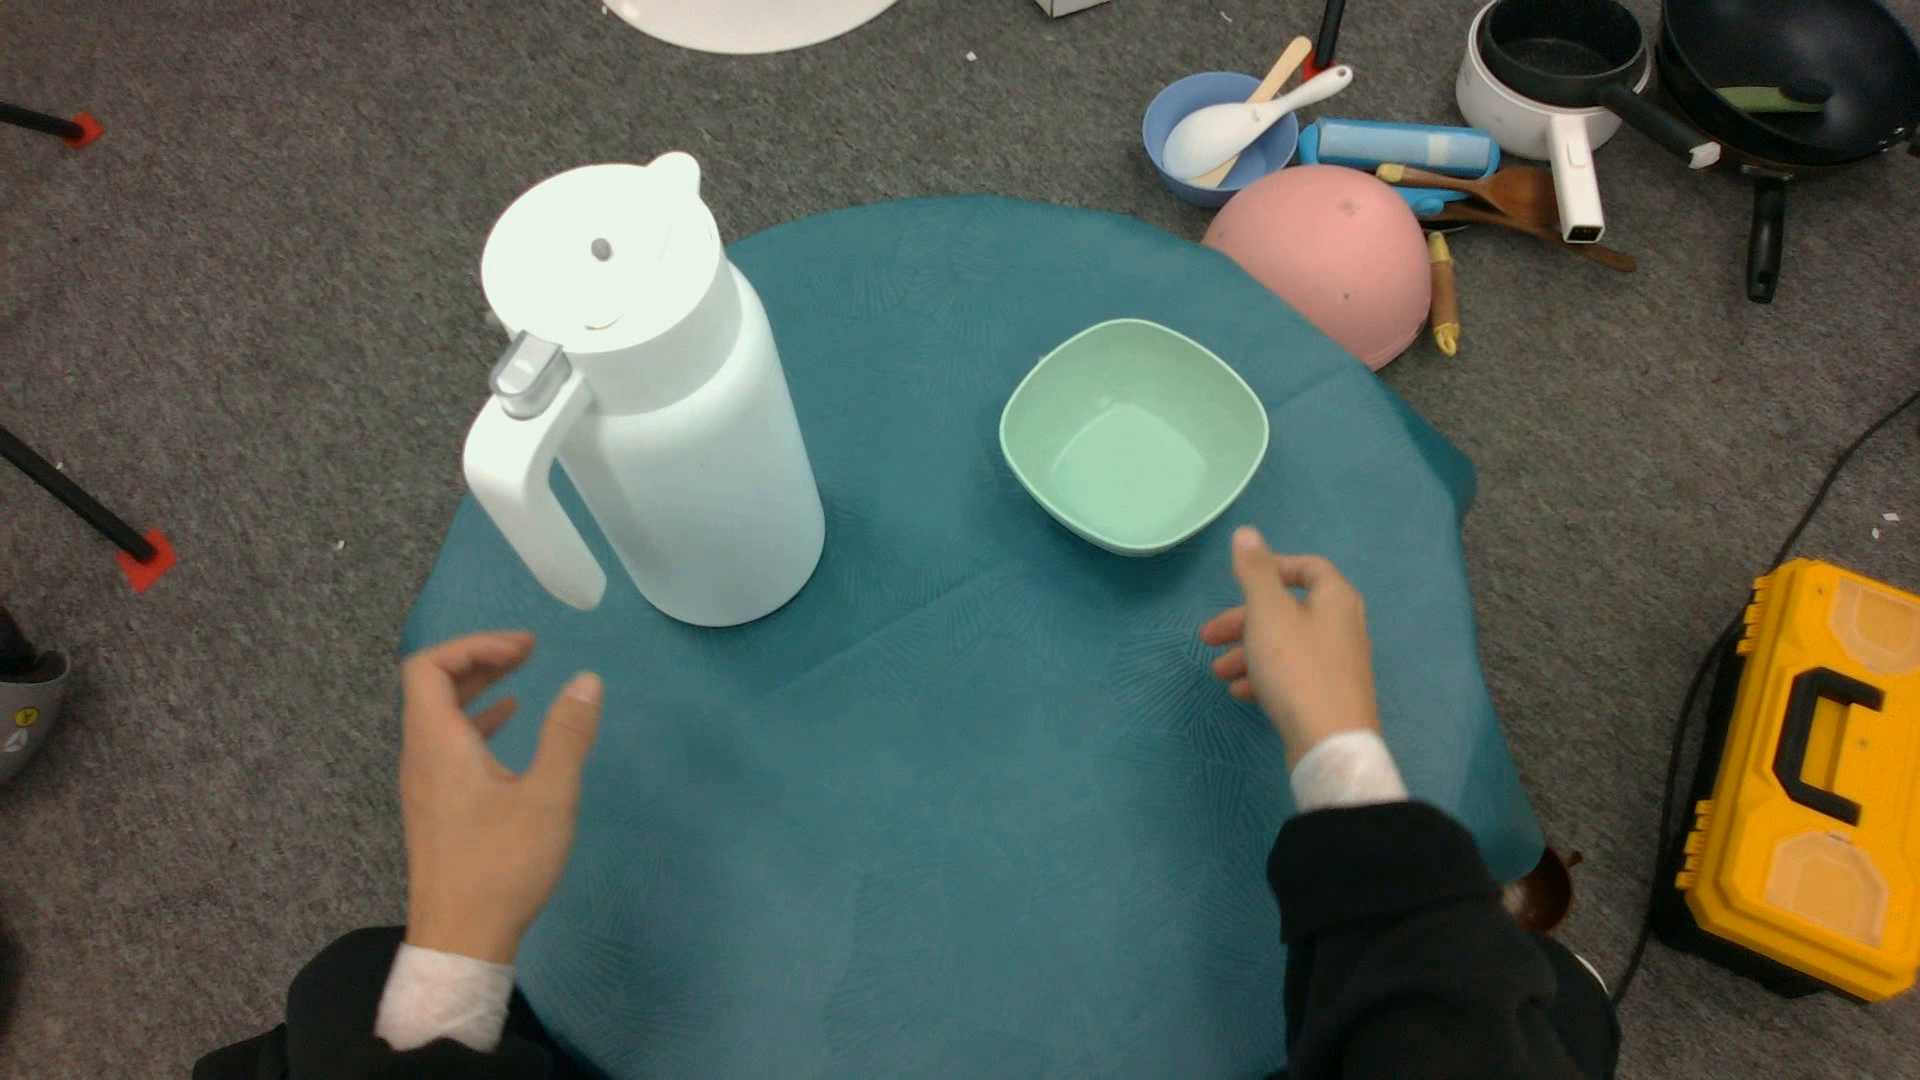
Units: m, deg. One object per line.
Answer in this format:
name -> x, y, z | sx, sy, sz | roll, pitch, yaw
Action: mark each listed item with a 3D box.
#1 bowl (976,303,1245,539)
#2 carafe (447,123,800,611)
bowl -> 0.085, -0.060, 0.798 | 0.151, 0.058, 0.152 | -1, 63, 1
carafe -> -0.160, -0.053, 0.681 | 0.124, 0.268, 0.173 | 20, 66, 9
